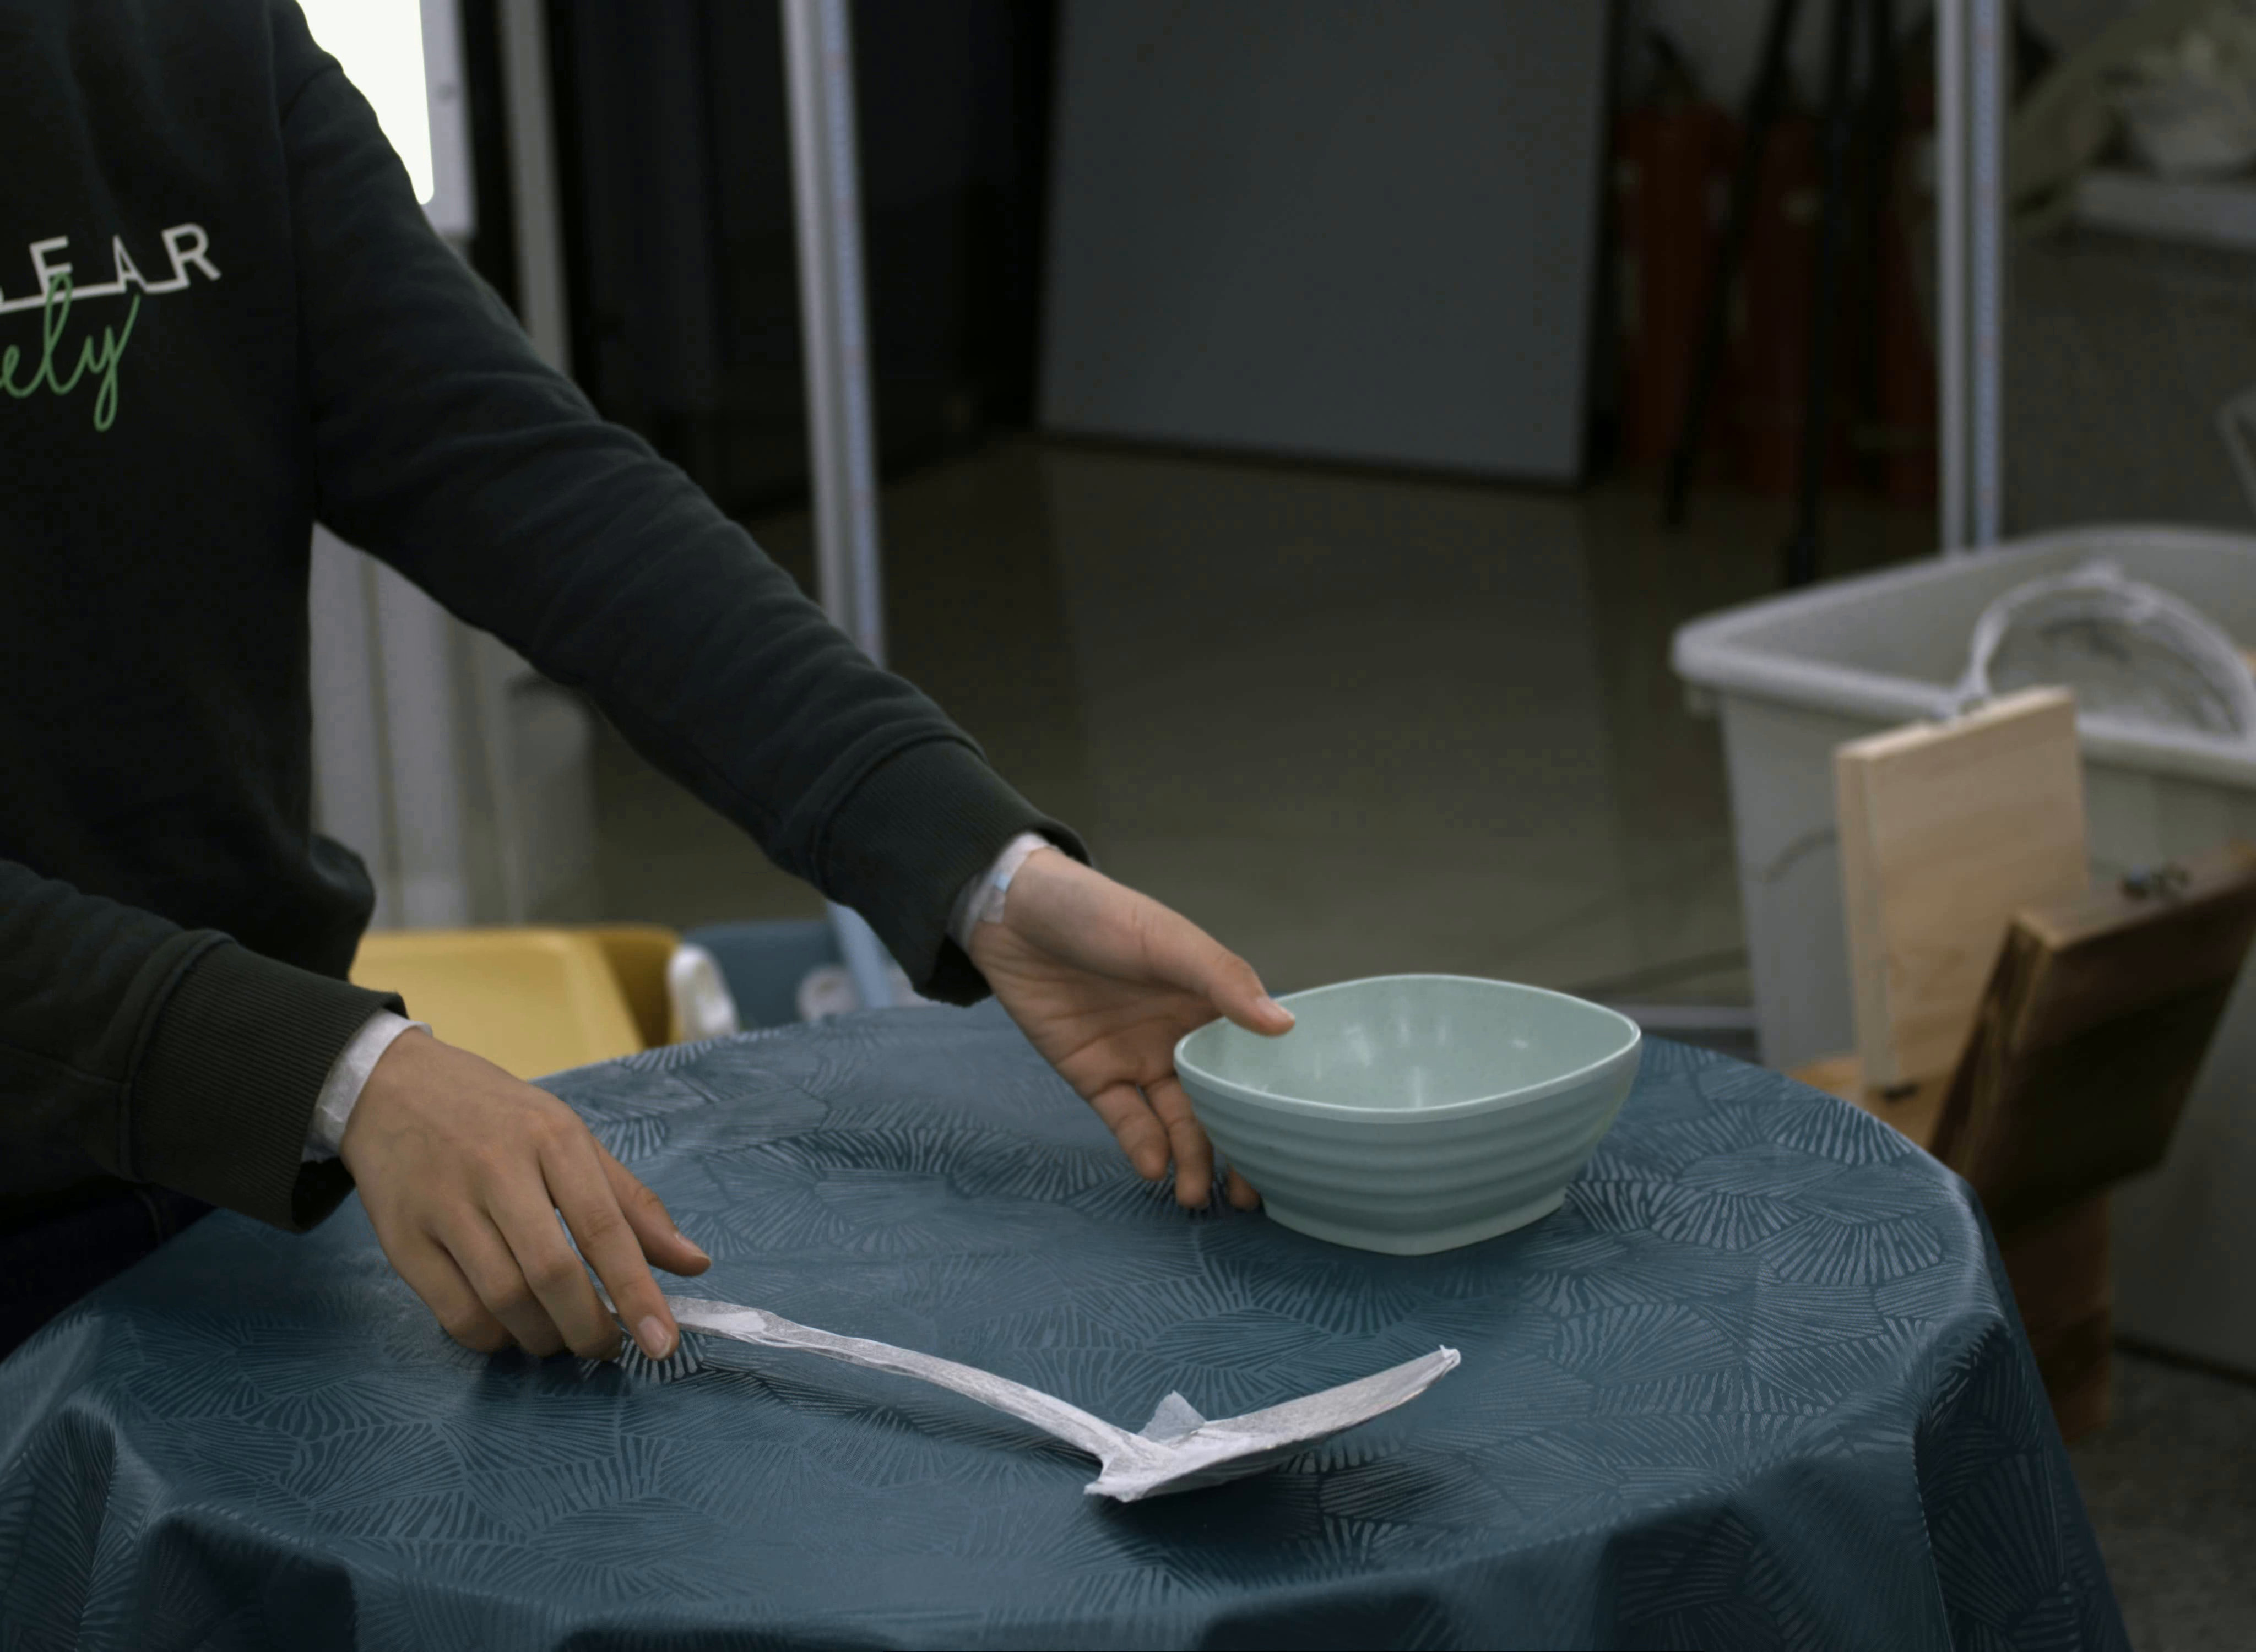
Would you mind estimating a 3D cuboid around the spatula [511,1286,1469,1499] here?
[{"bbox_3d":[-0.061,0.153,1.578,0.368,0.045,0.097,8,20,40],"label":"spatula"}]

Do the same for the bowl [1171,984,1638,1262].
[{"bbox_3d":[0.089,0.098,1.727,0.149,0.059,0.151,-2,13,-1],"label":"bowl"}]
